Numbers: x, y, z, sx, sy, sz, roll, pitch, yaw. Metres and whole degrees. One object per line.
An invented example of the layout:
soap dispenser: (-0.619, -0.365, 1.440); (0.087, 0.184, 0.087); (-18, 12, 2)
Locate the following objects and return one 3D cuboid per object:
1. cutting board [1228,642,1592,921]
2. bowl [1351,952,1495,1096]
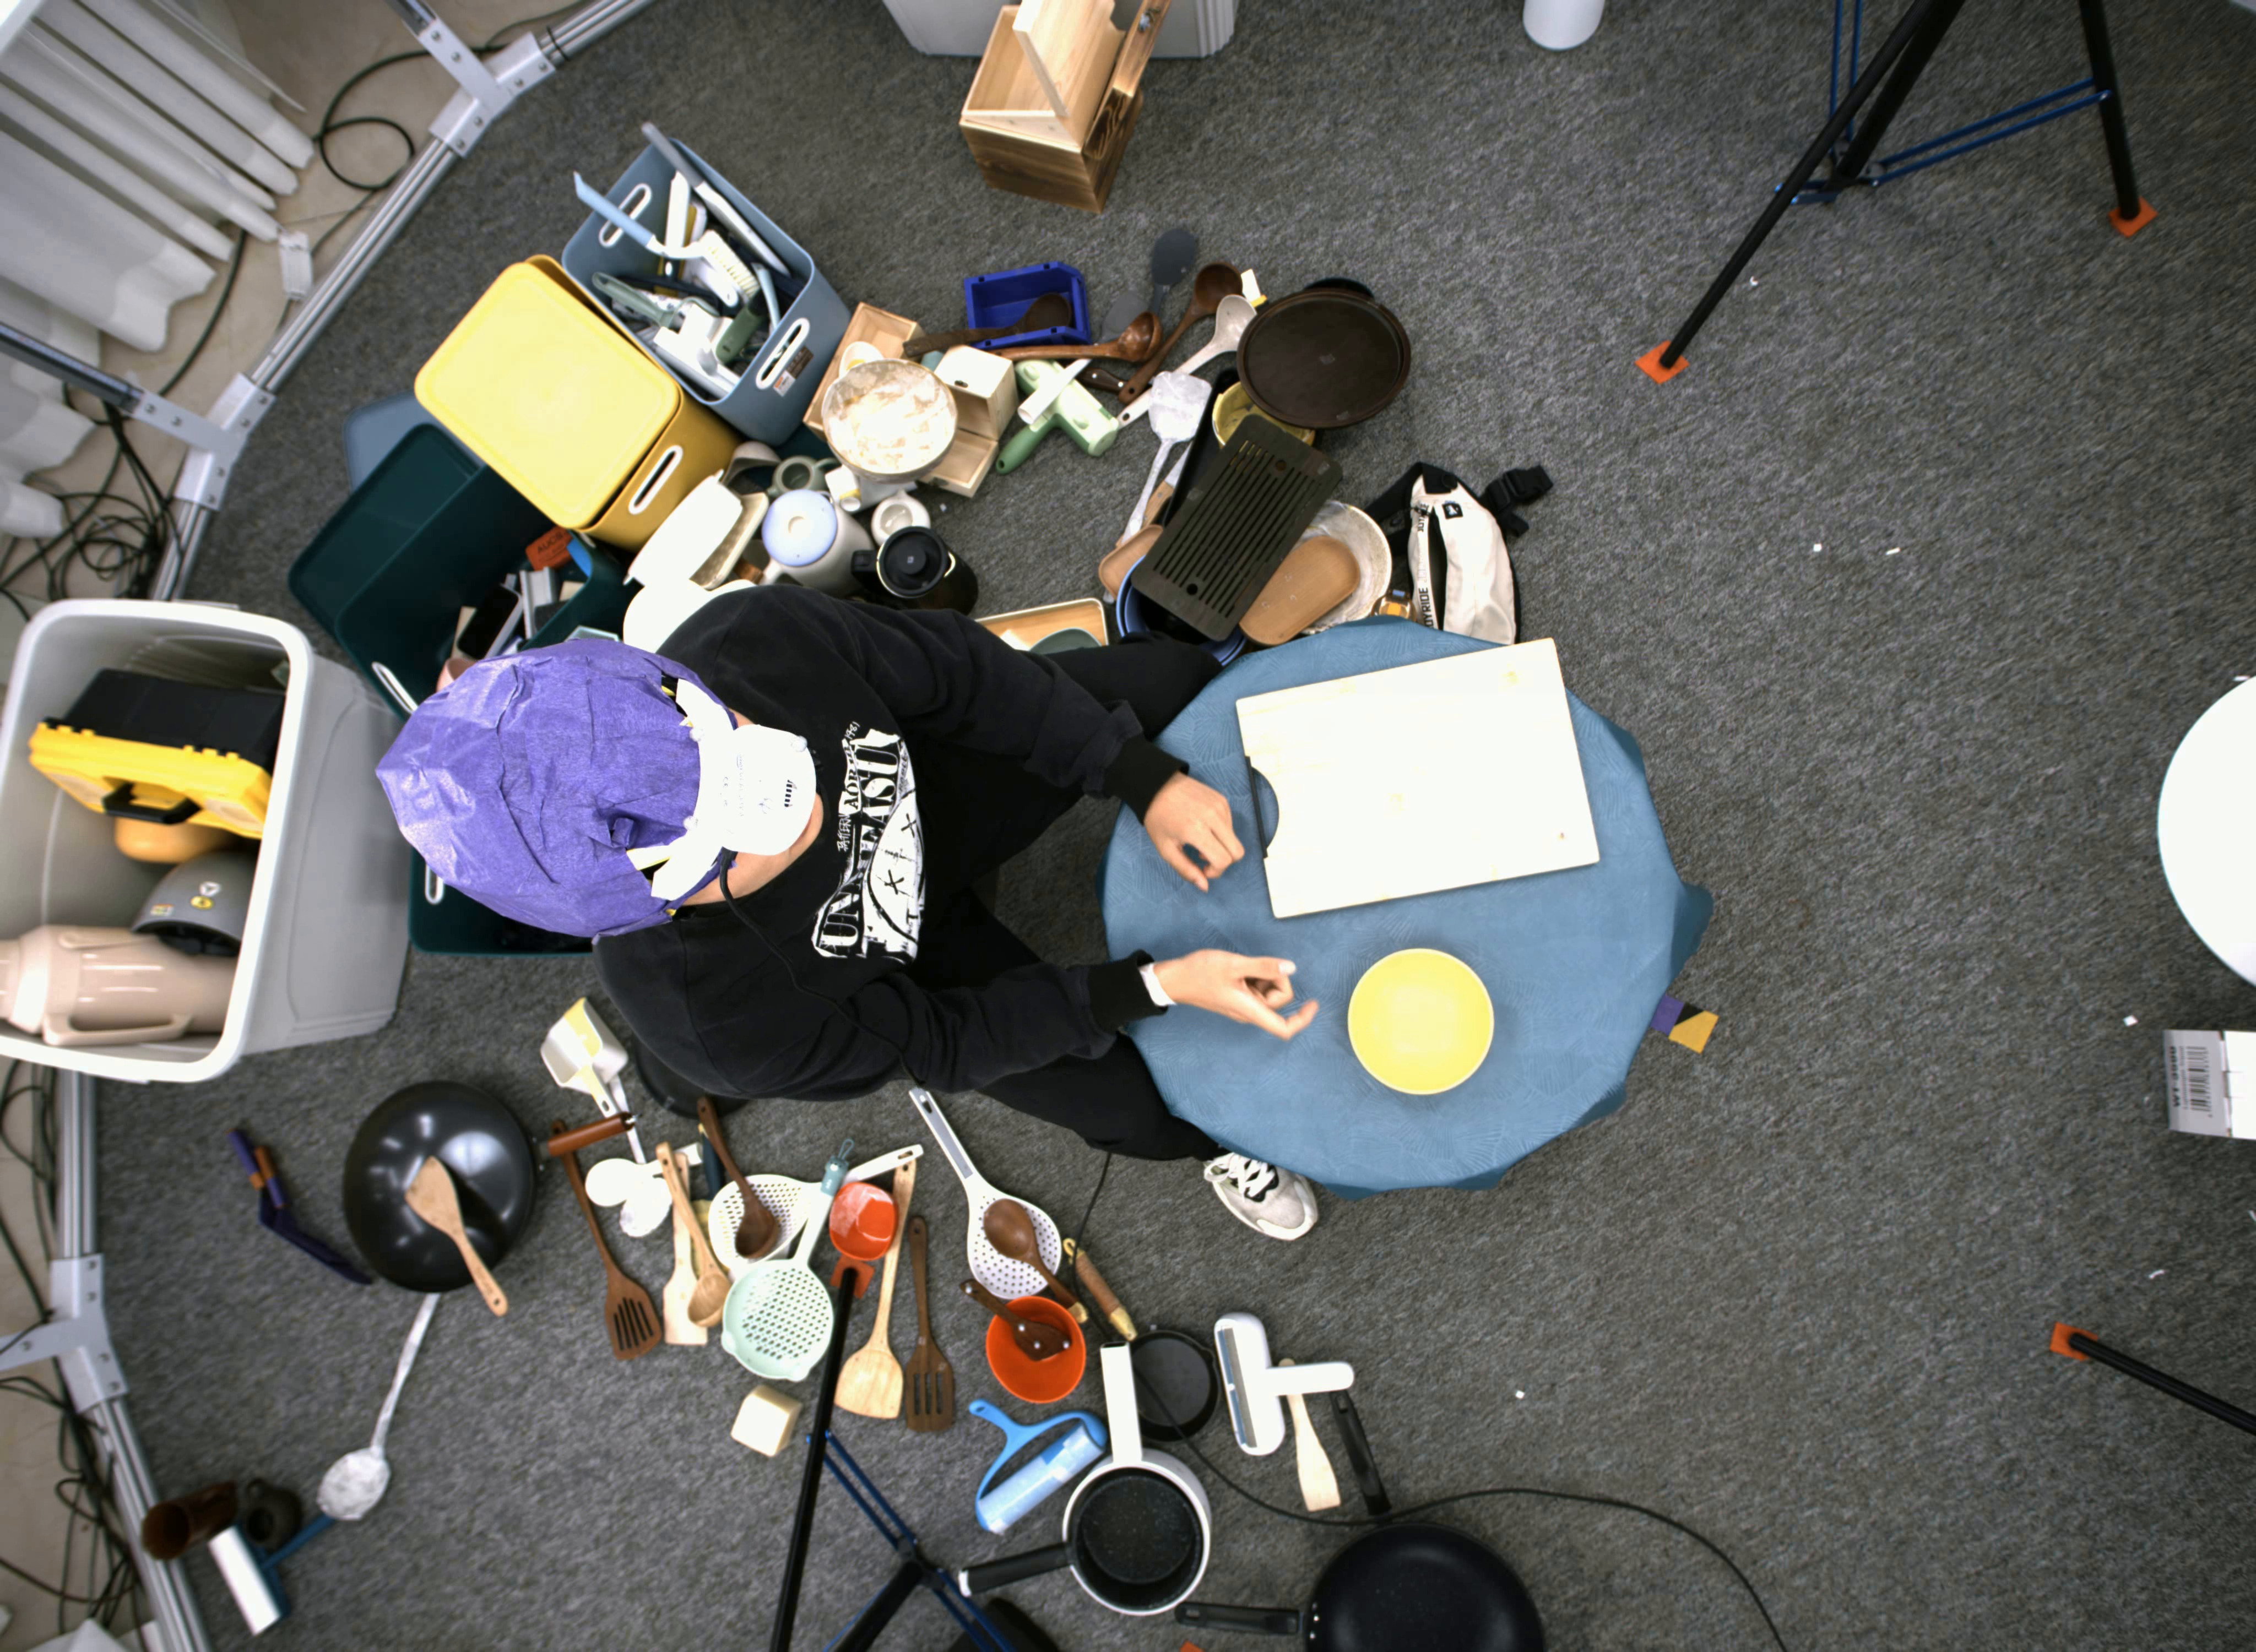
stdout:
cutting board: (0.298, -0.048, 1.460); (0.350, 0.023, 0.249); (-12, 84, 9)
bowl: (0.302, 0.202, 1.421); (0.146, 0.060, 0.144); (-2, 83, 11)
